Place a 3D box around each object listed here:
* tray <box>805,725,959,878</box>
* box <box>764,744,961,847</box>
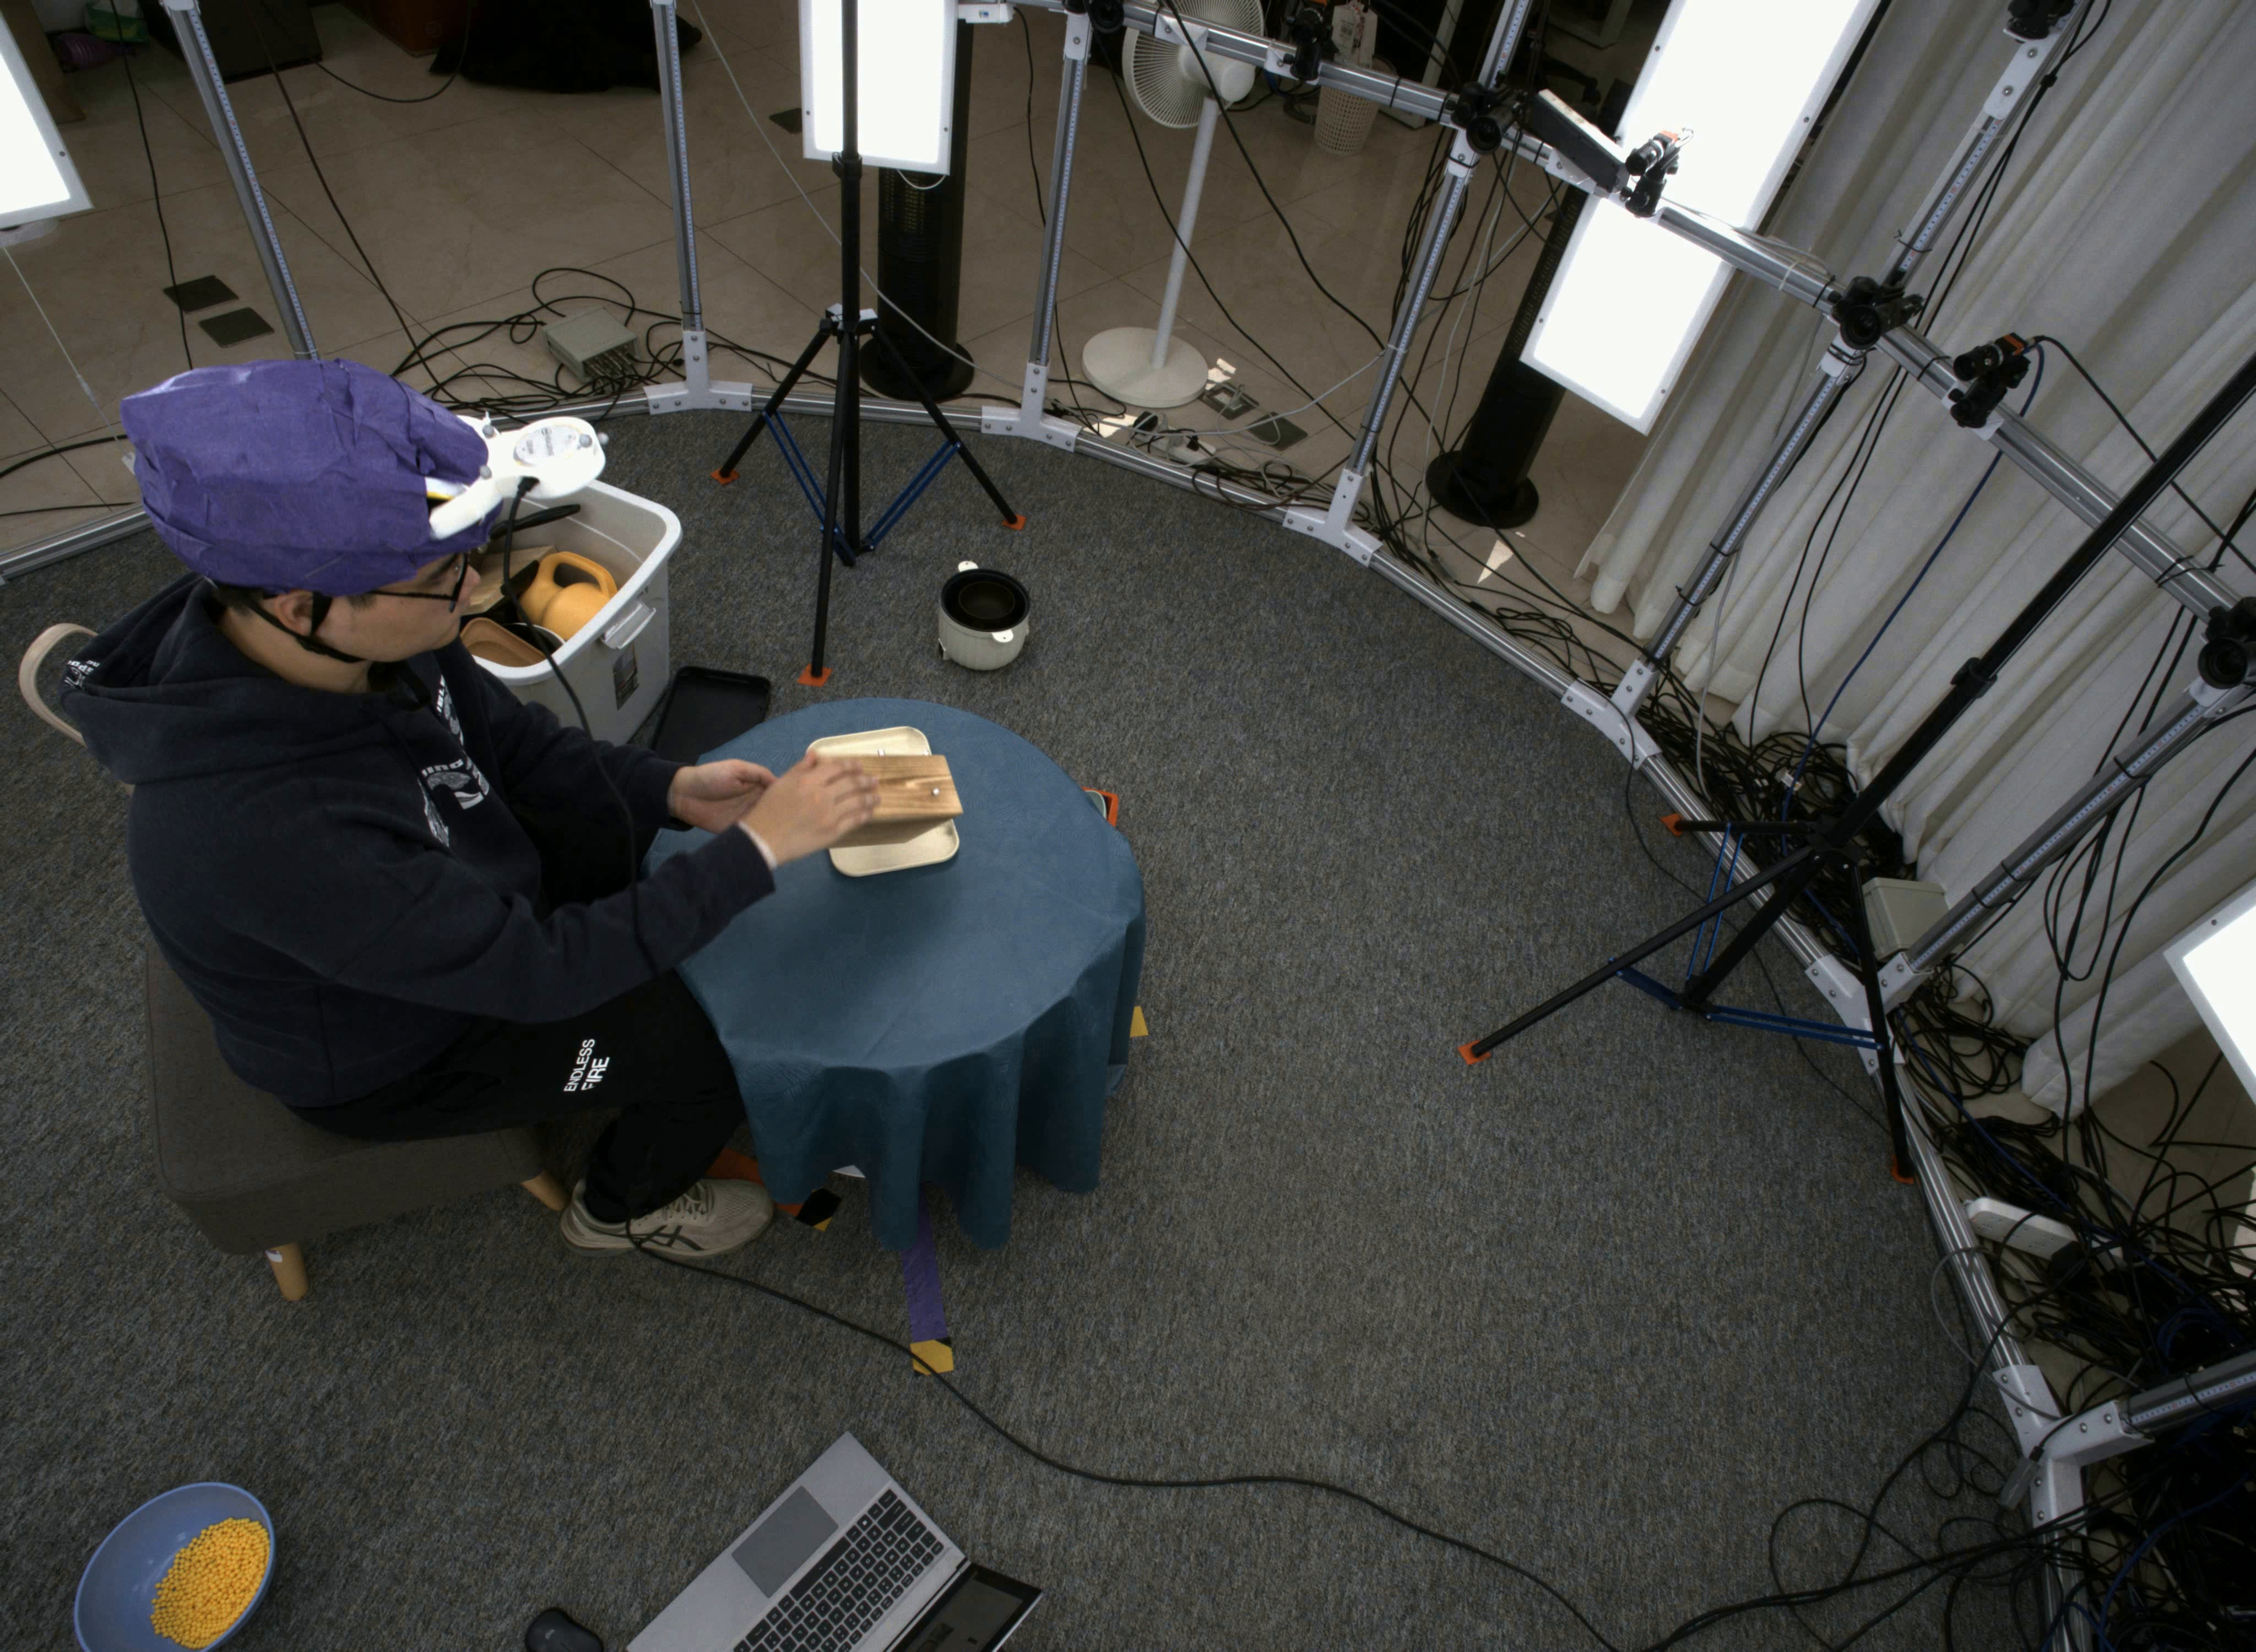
[{"bbox_3d":[-0.334,-0.036,1.758,0.172,0.018,0.234,-10,57,-20],"label":"tray"},{"bbox_3d":[-0.316,-0.036,1.566,0.215,0.106,0.080,-1,67,-60],"label":"box"}]
